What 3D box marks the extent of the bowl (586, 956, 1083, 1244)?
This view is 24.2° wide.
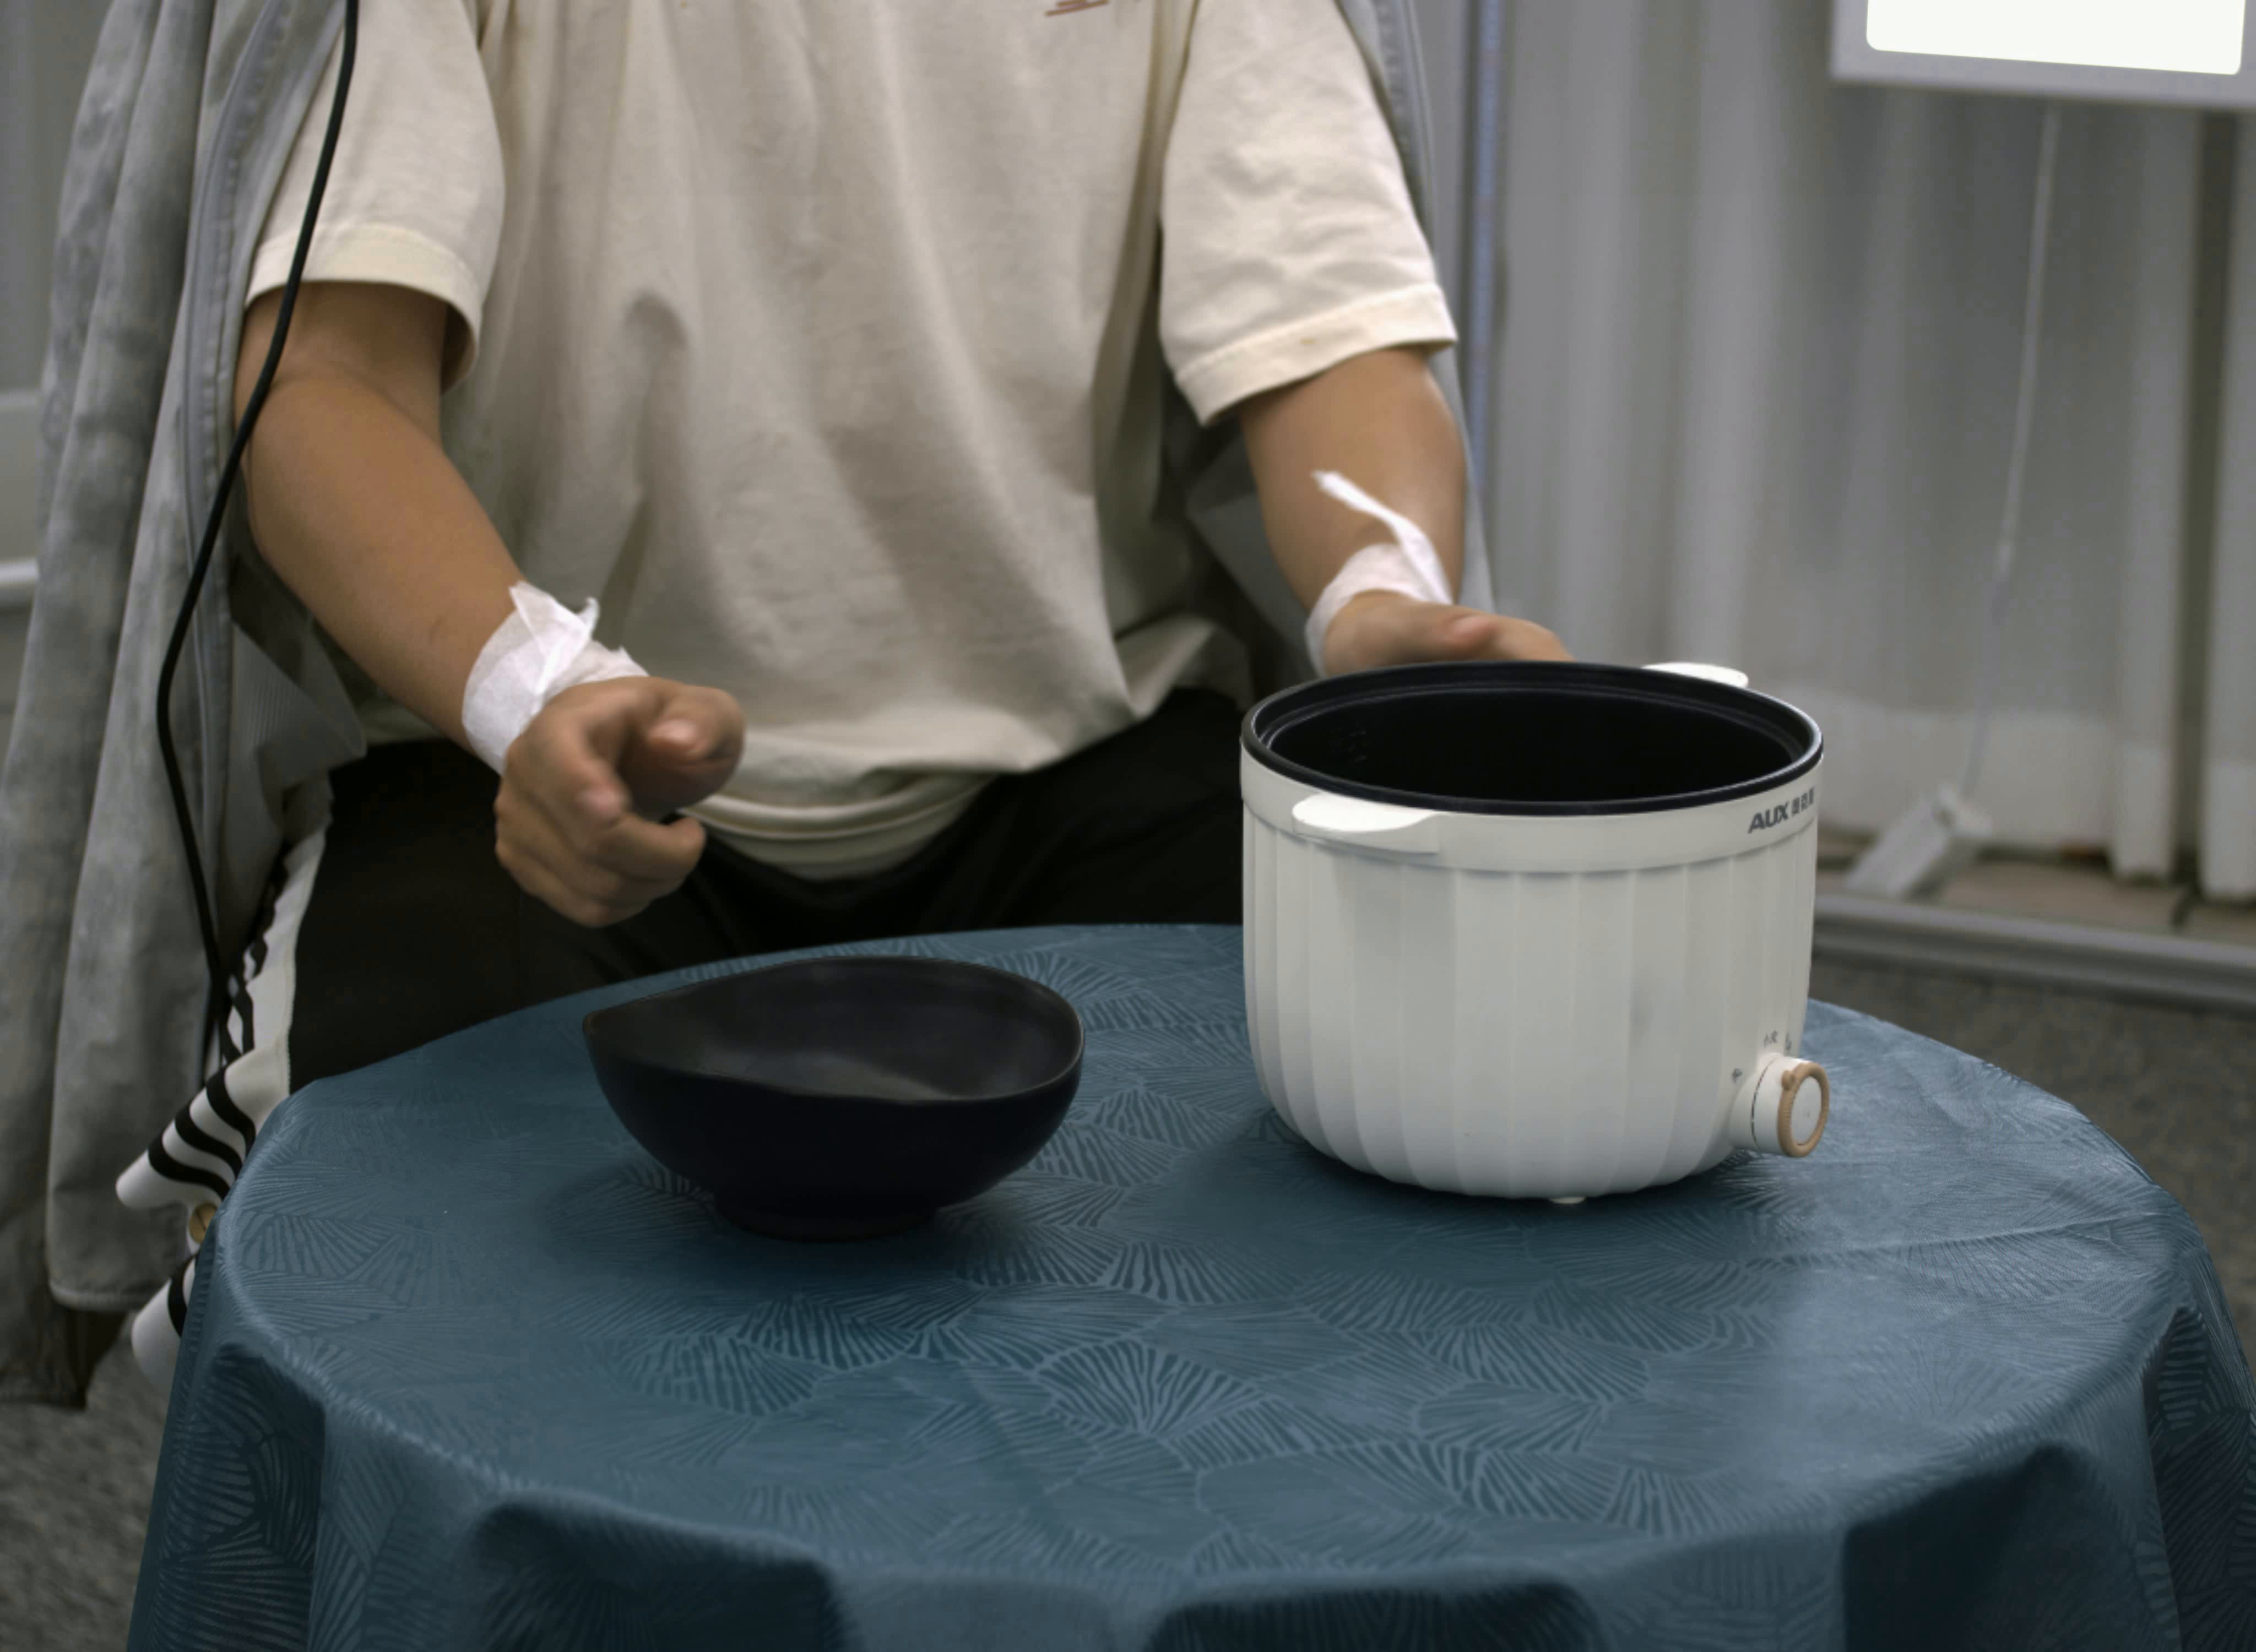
[{"bbox_3d":[-0.091,0.086,1.596,0.168,0.067,0.138,13,19,40],"label":"bowl"}]

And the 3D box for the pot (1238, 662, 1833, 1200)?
[{"bbox_3d":[0.130,0.034,1.654,0.188,0.144,0.241,7,17,33],"label":"pot"}]
